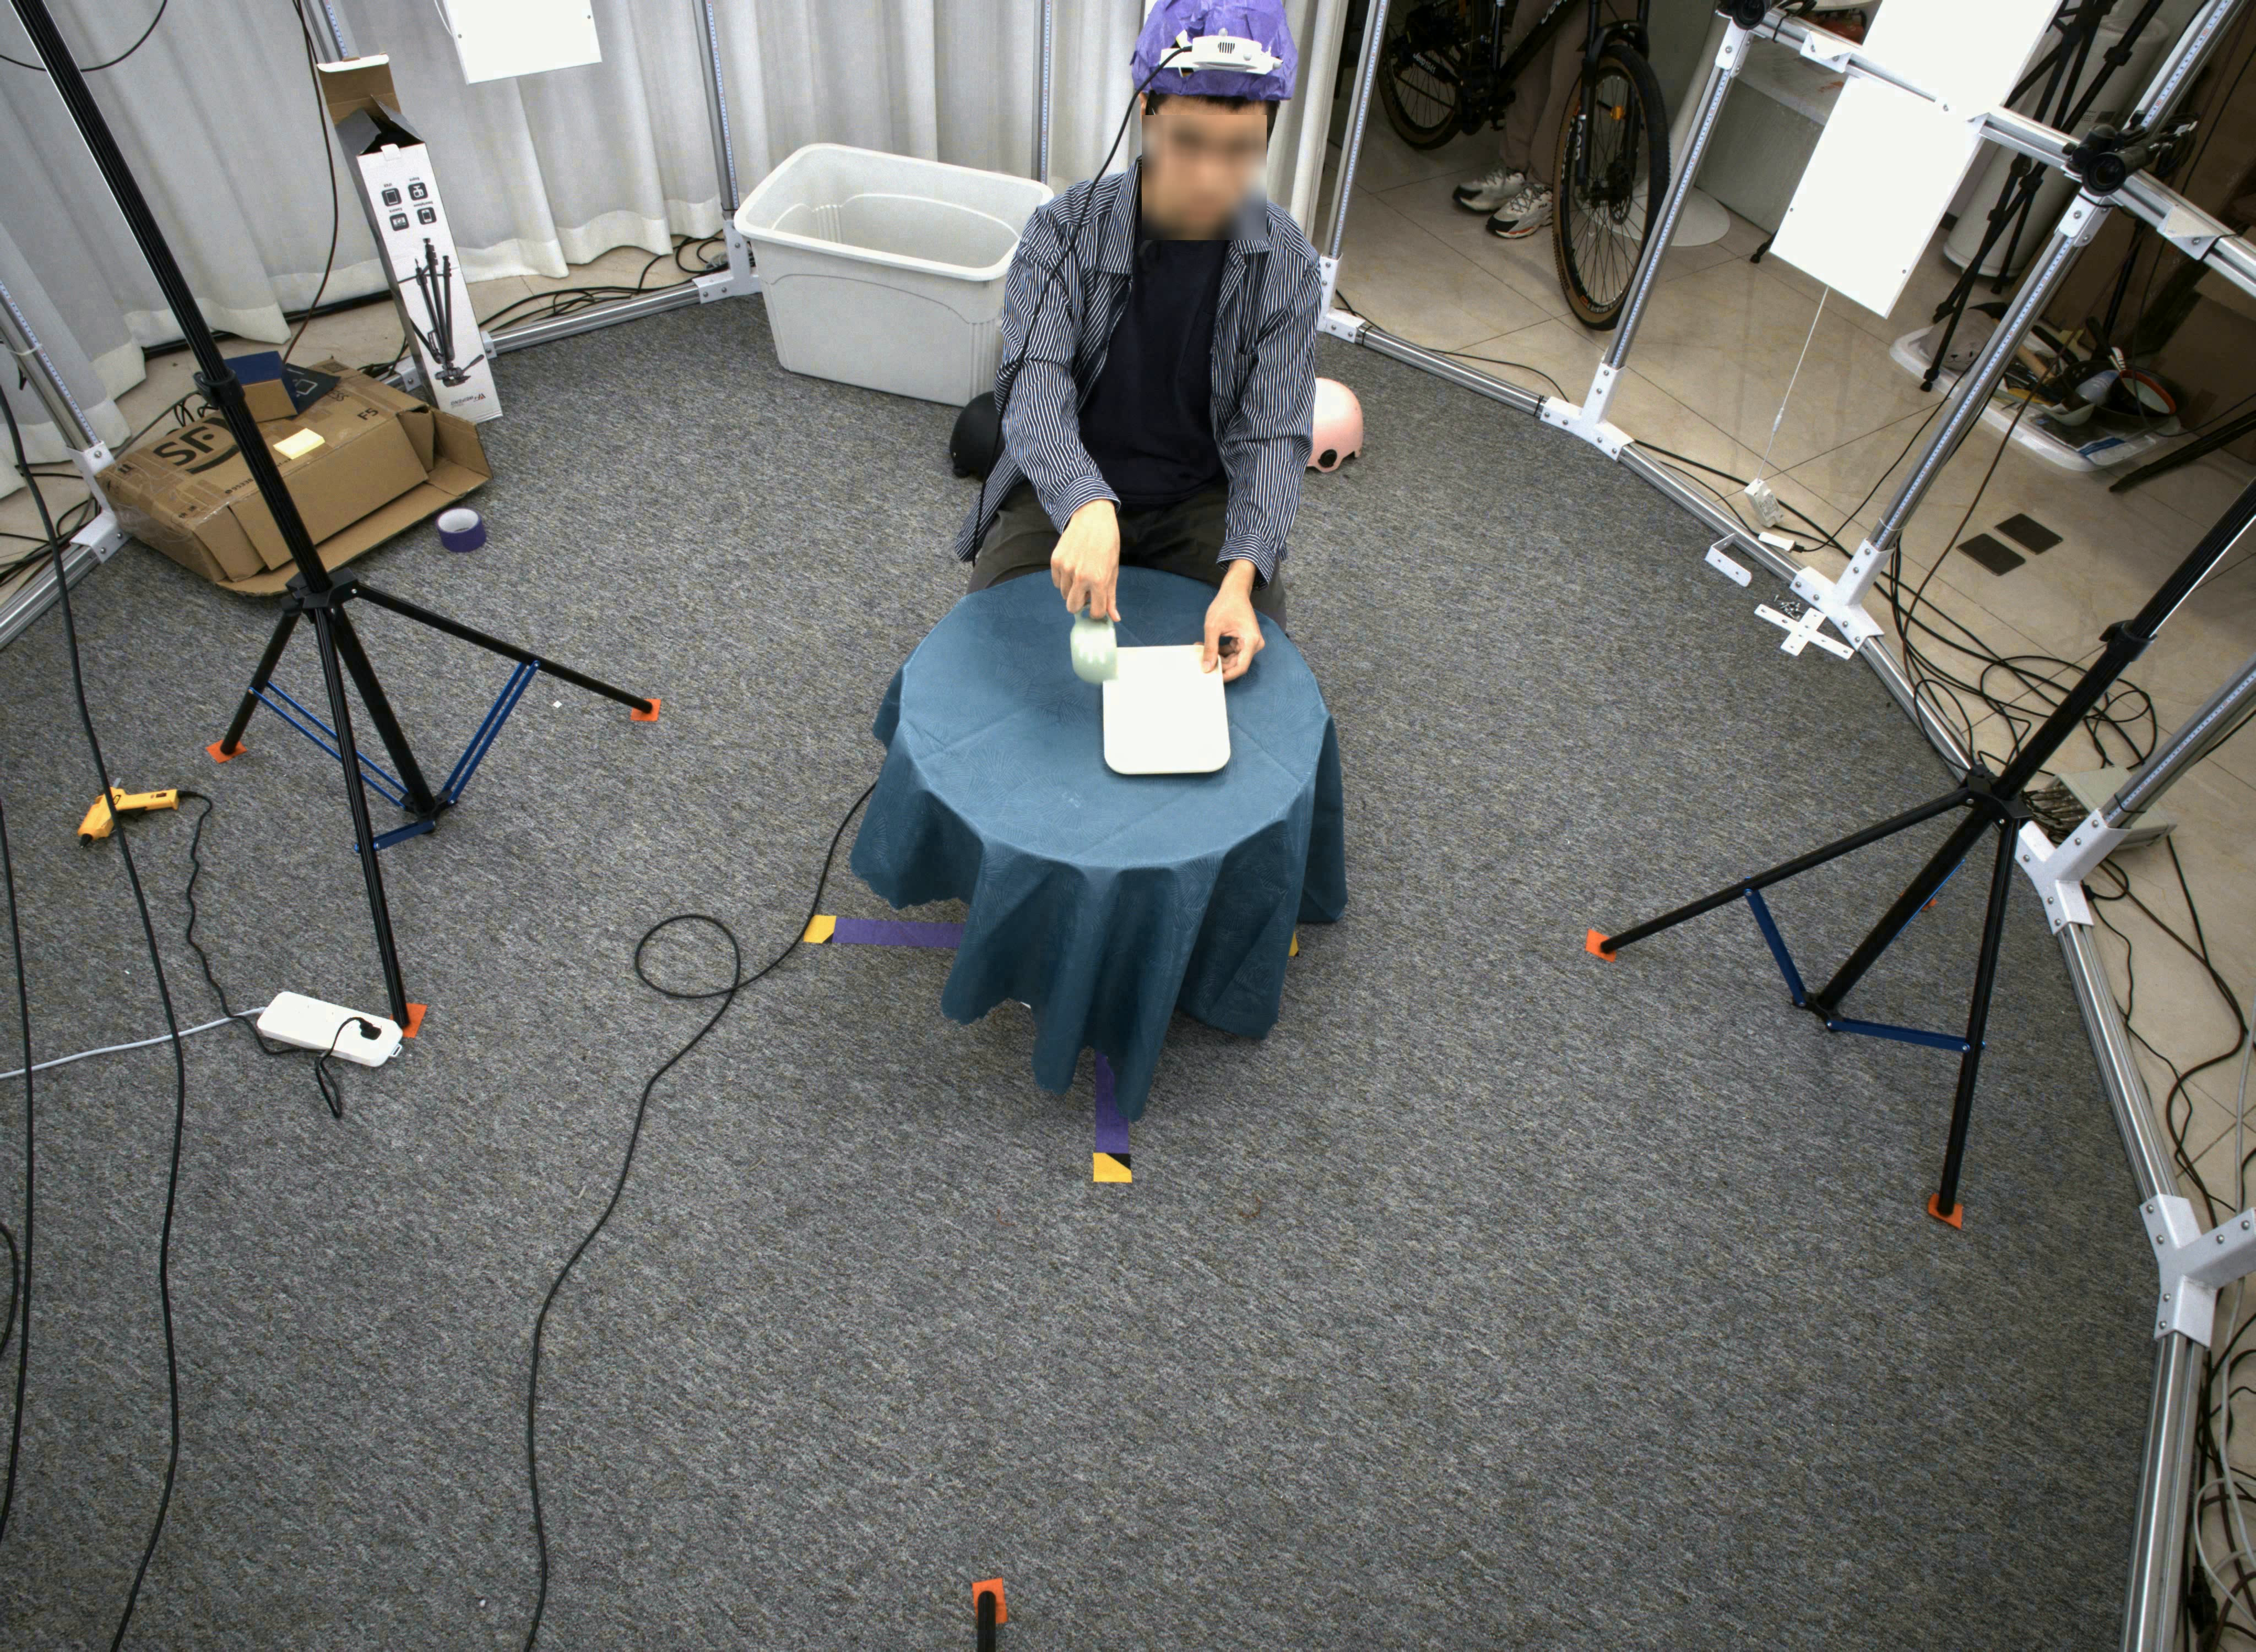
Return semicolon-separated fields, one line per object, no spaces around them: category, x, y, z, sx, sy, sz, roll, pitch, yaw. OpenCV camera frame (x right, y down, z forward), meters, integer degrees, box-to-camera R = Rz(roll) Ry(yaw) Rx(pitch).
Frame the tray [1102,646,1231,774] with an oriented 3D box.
tray;0.050;-0.163;1.786;0.171;0.017;0.246;-1;49;-2

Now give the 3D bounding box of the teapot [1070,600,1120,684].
teapot;-0.046;-0.246;1.725;0.061;0.125;0.093;-4;36;3
